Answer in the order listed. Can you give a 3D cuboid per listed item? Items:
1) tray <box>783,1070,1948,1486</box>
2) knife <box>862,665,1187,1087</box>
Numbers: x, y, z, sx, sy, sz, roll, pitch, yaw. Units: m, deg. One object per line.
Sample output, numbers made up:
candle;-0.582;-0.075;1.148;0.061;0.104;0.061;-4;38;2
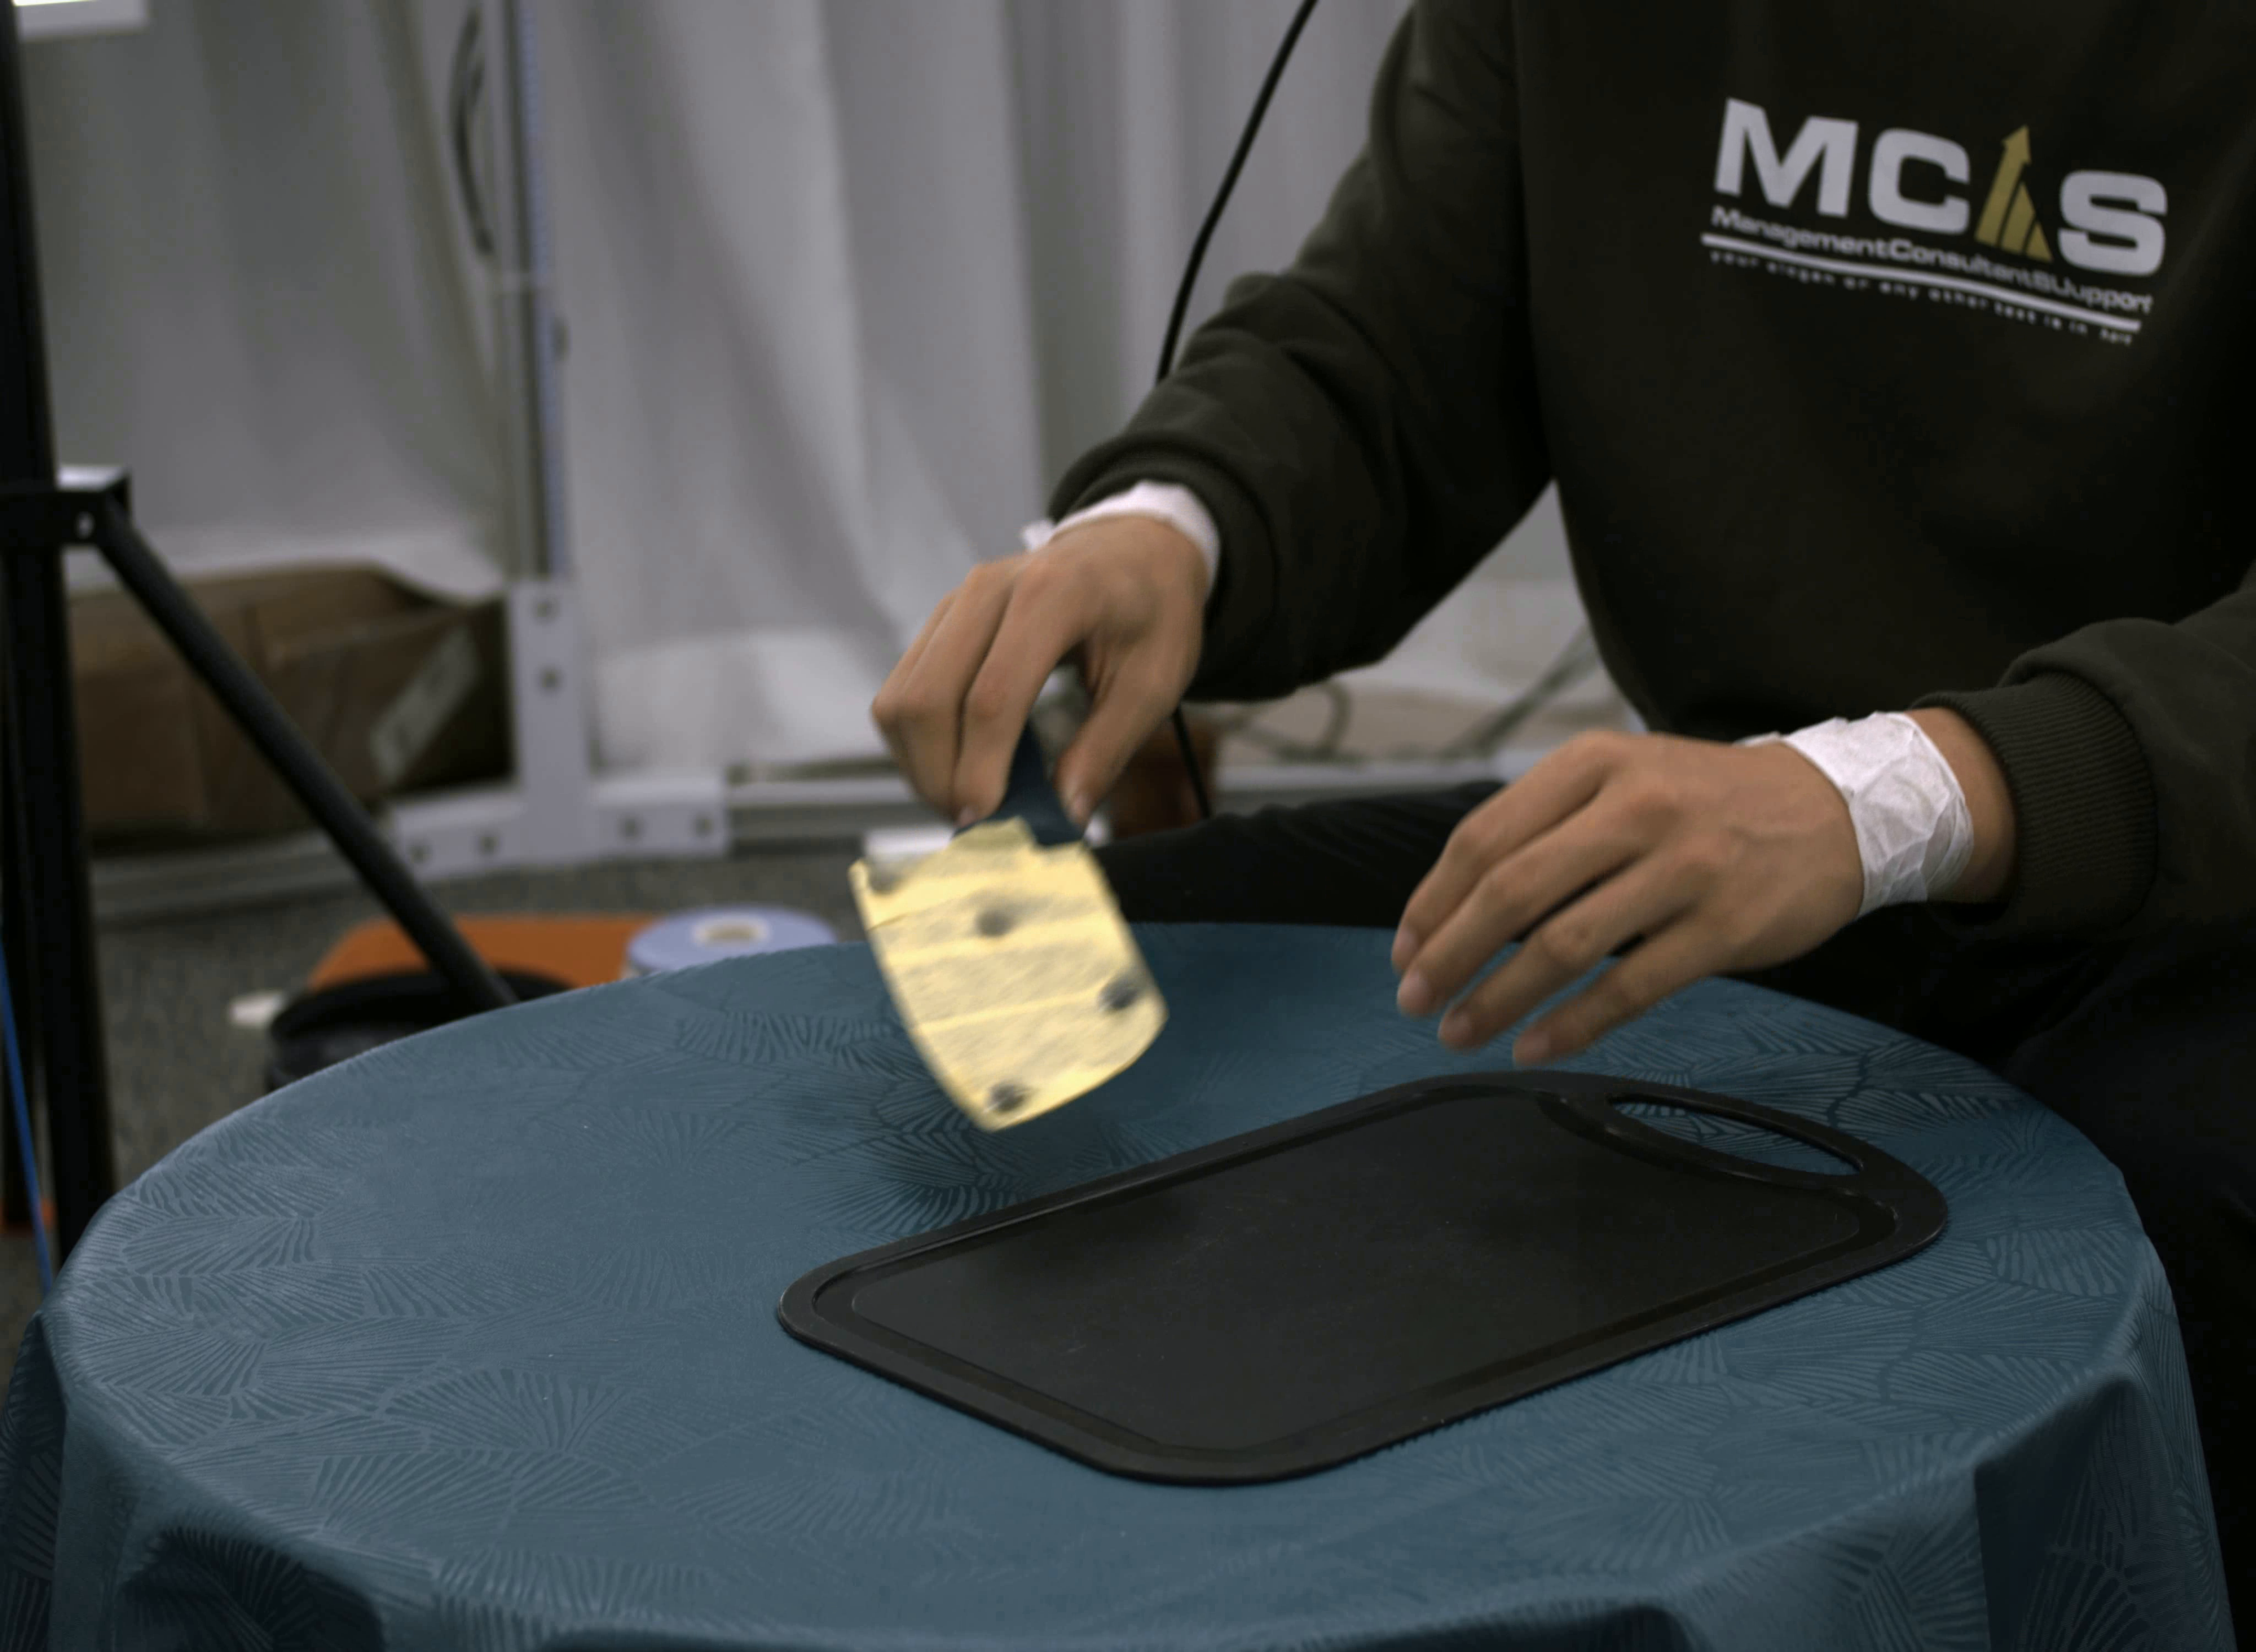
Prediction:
tray;0.075;0.119;1.499;0.318;0.010;0.216;-14;20;-36
knife;-0.040;0.014;1.639;0.080;0.027;0.293;-9;25;-7
